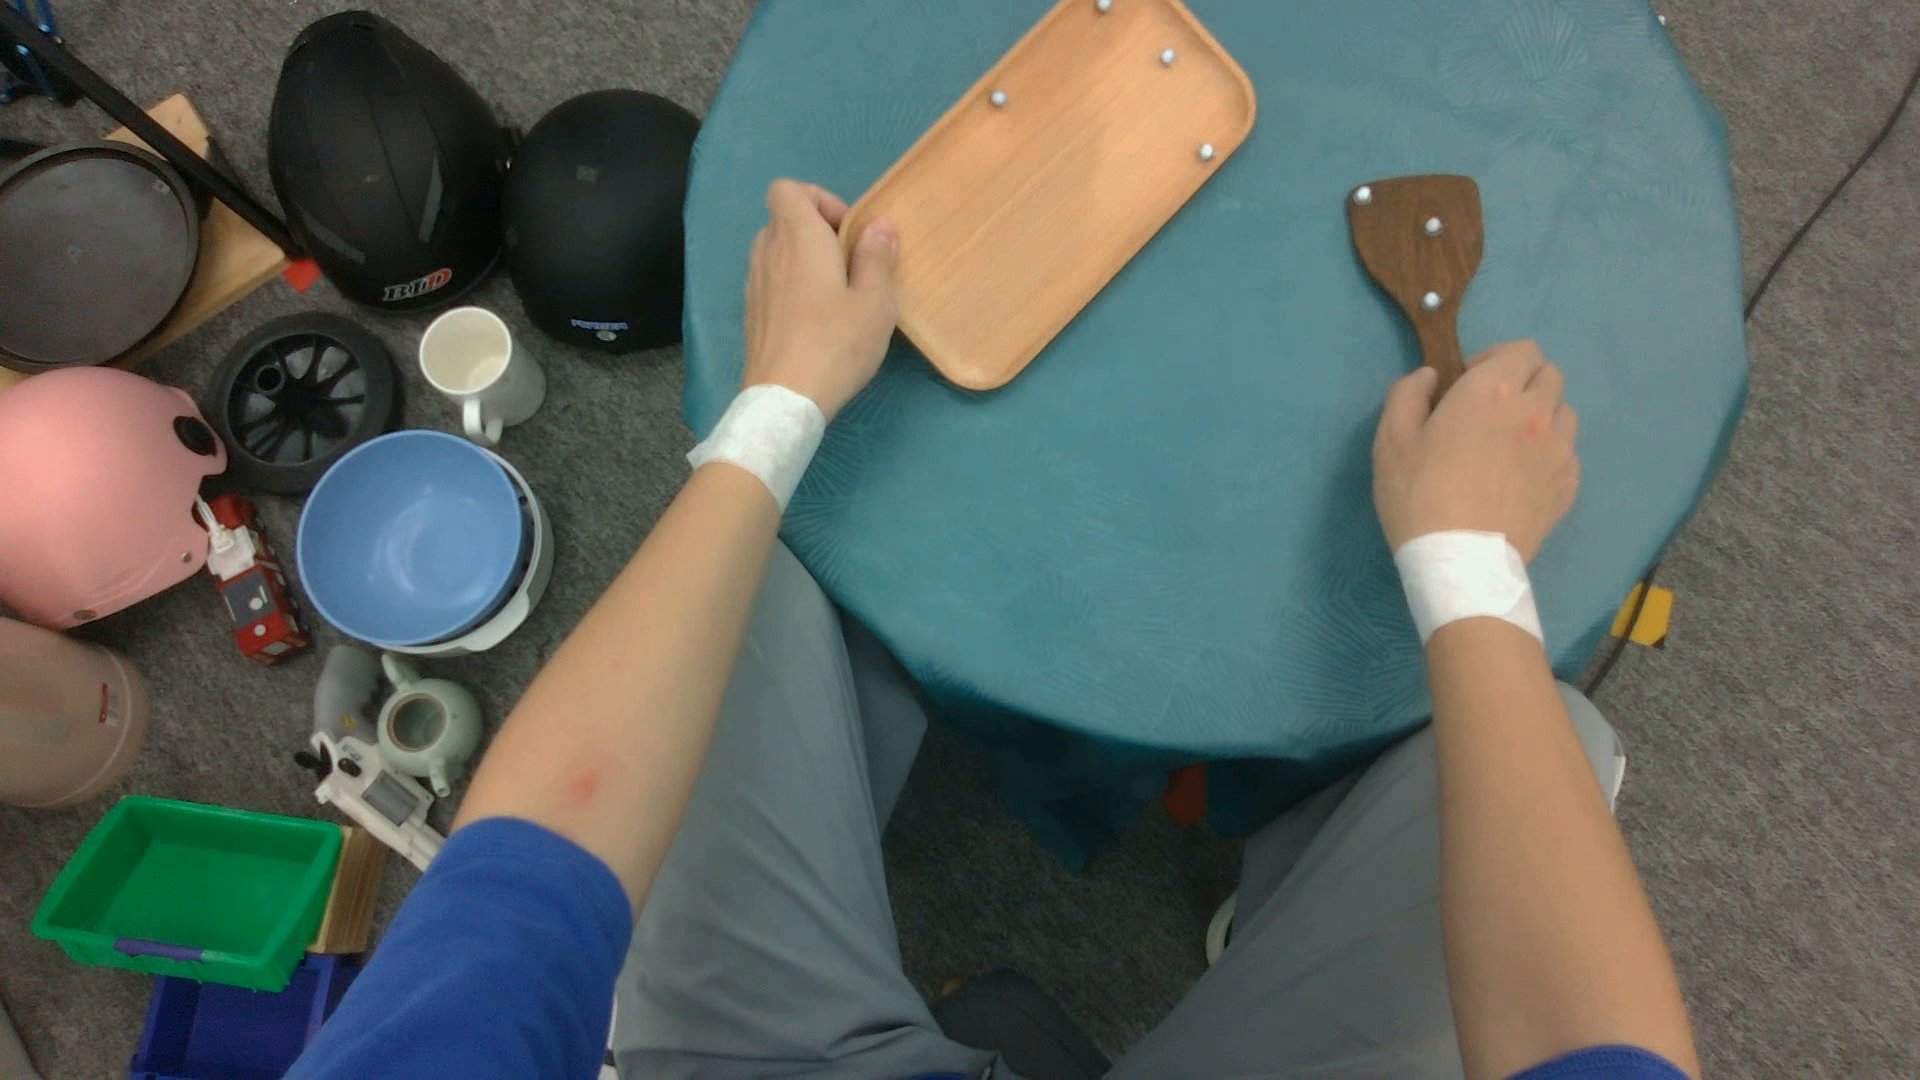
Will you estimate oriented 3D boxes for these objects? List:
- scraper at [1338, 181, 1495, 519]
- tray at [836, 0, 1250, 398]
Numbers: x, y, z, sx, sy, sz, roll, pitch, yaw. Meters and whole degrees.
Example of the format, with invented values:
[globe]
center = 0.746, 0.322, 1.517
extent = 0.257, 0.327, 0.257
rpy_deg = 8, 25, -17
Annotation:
[scraper]
center = 0.261, -0.108, 0.759
extent = 0.076, 0.011, 0.212
rpy_deg = -5, 66, 4
[tray]
center = 0.050, -0.200, 0.778
extent = 0.130, 0.023, 0.251
rpy_deg = 46, 80, -7
